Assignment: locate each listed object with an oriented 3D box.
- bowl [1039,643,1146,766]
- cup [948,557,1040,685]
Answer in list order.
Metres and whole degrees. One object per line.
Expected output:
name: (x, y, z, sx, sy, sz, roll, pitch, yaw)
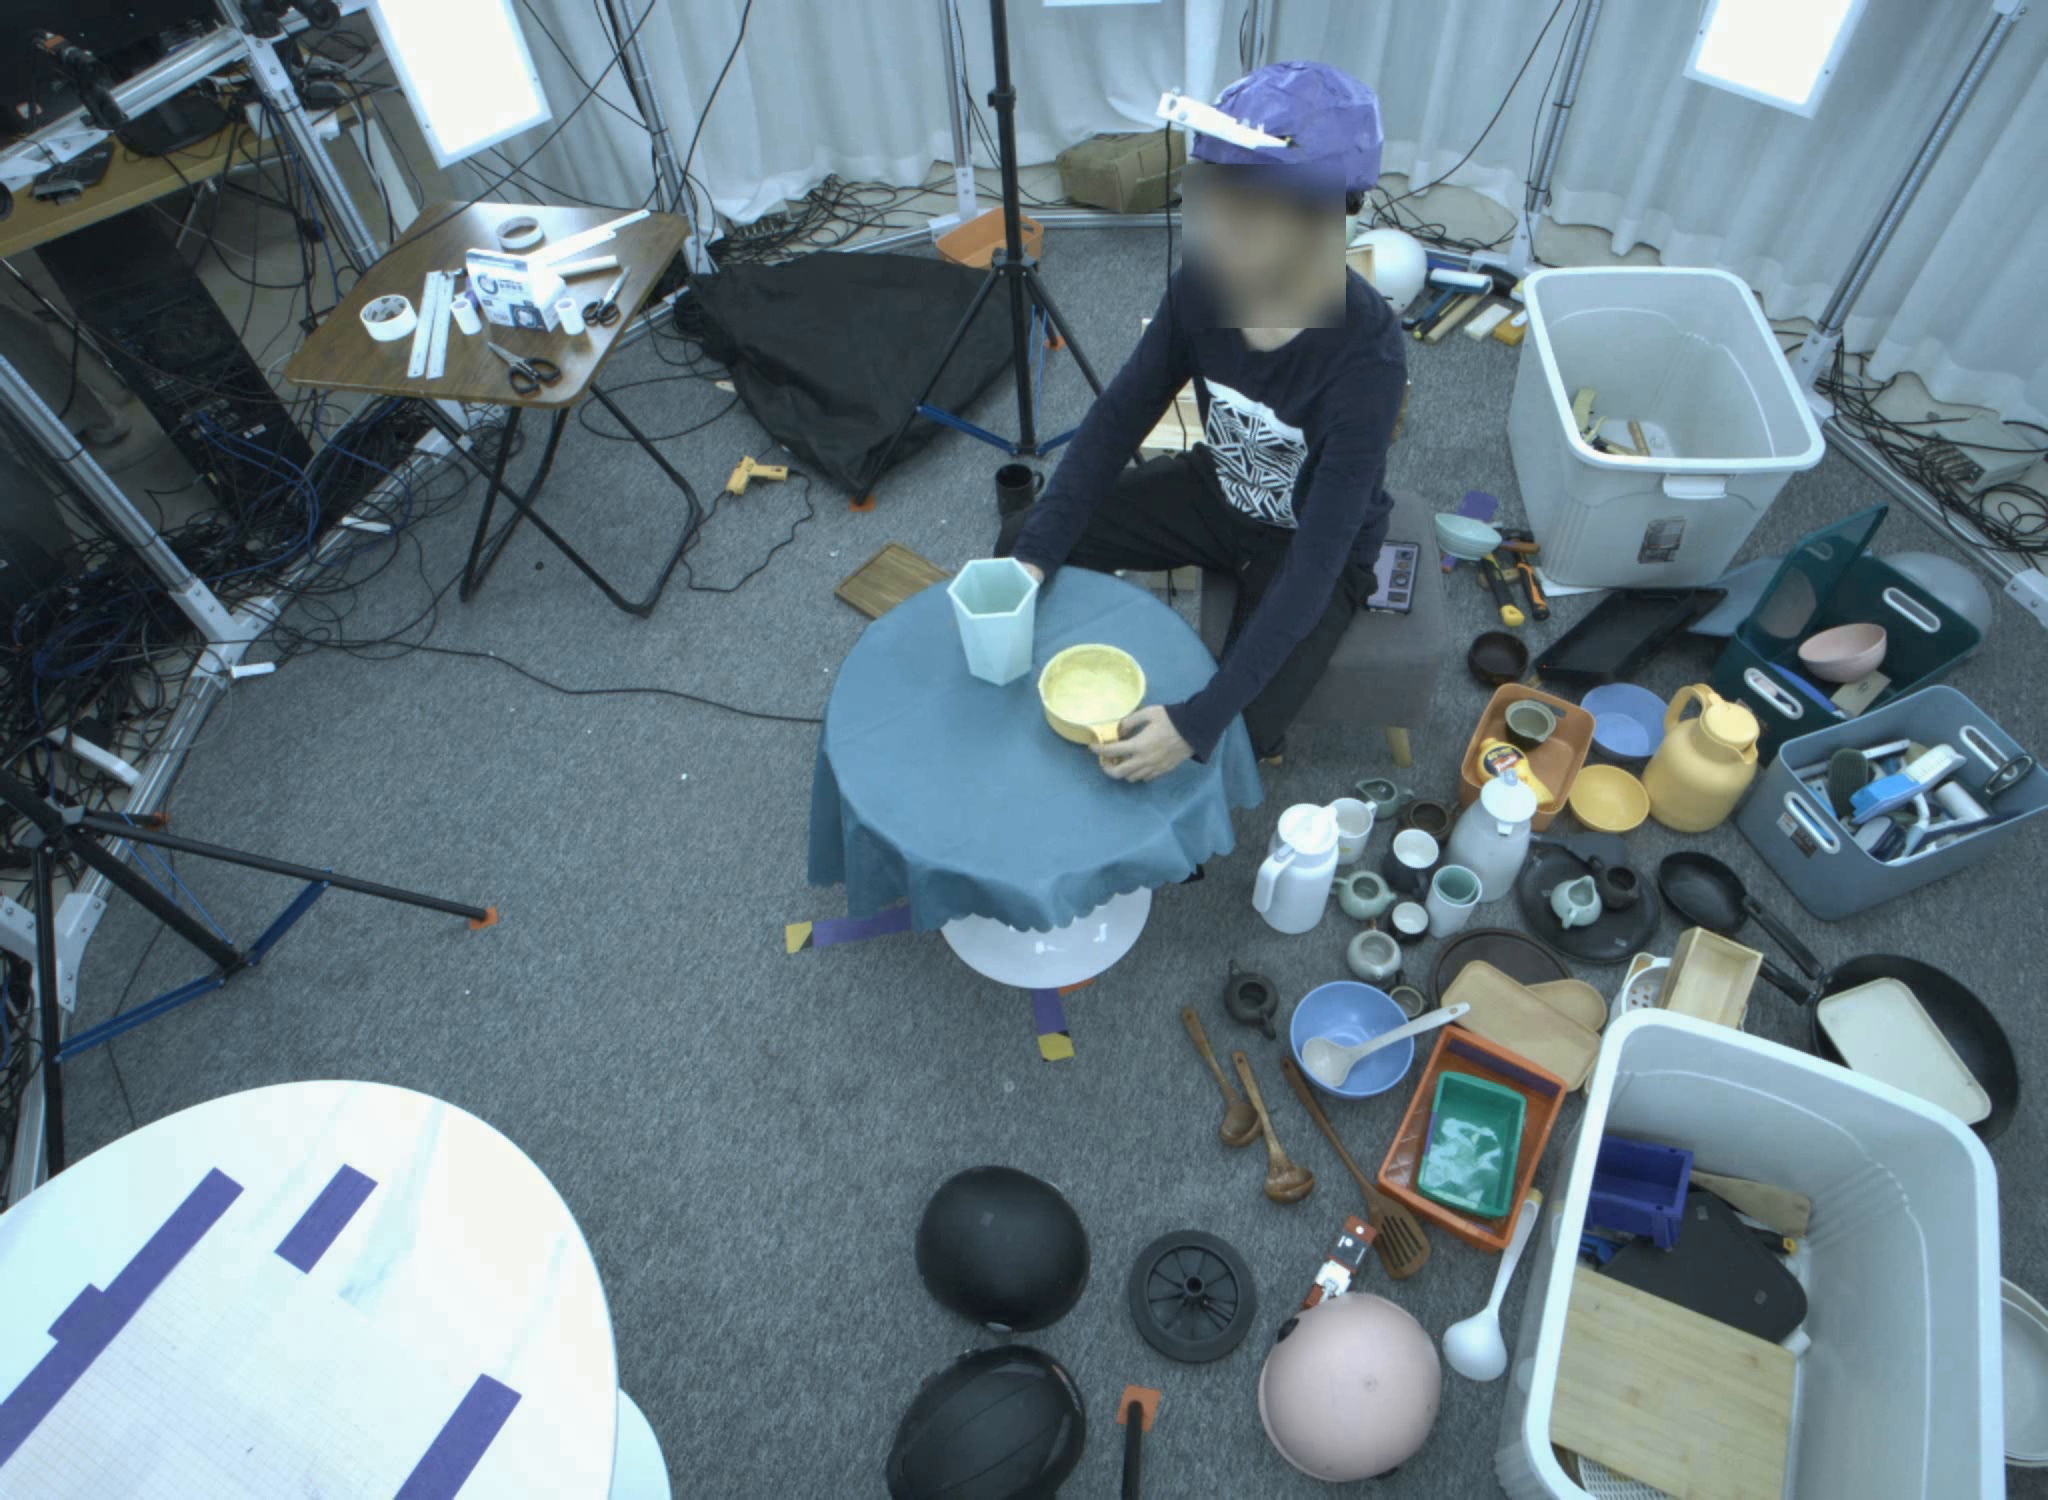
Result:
bowl: (0.102, -0.066, 1.782, 0.154, 0.075, 0.176, -13, 54, -9)
cup: (-0.041, -0.186, 1.812, 0.116, 0.164, 0.128, -30, 59, -18)
